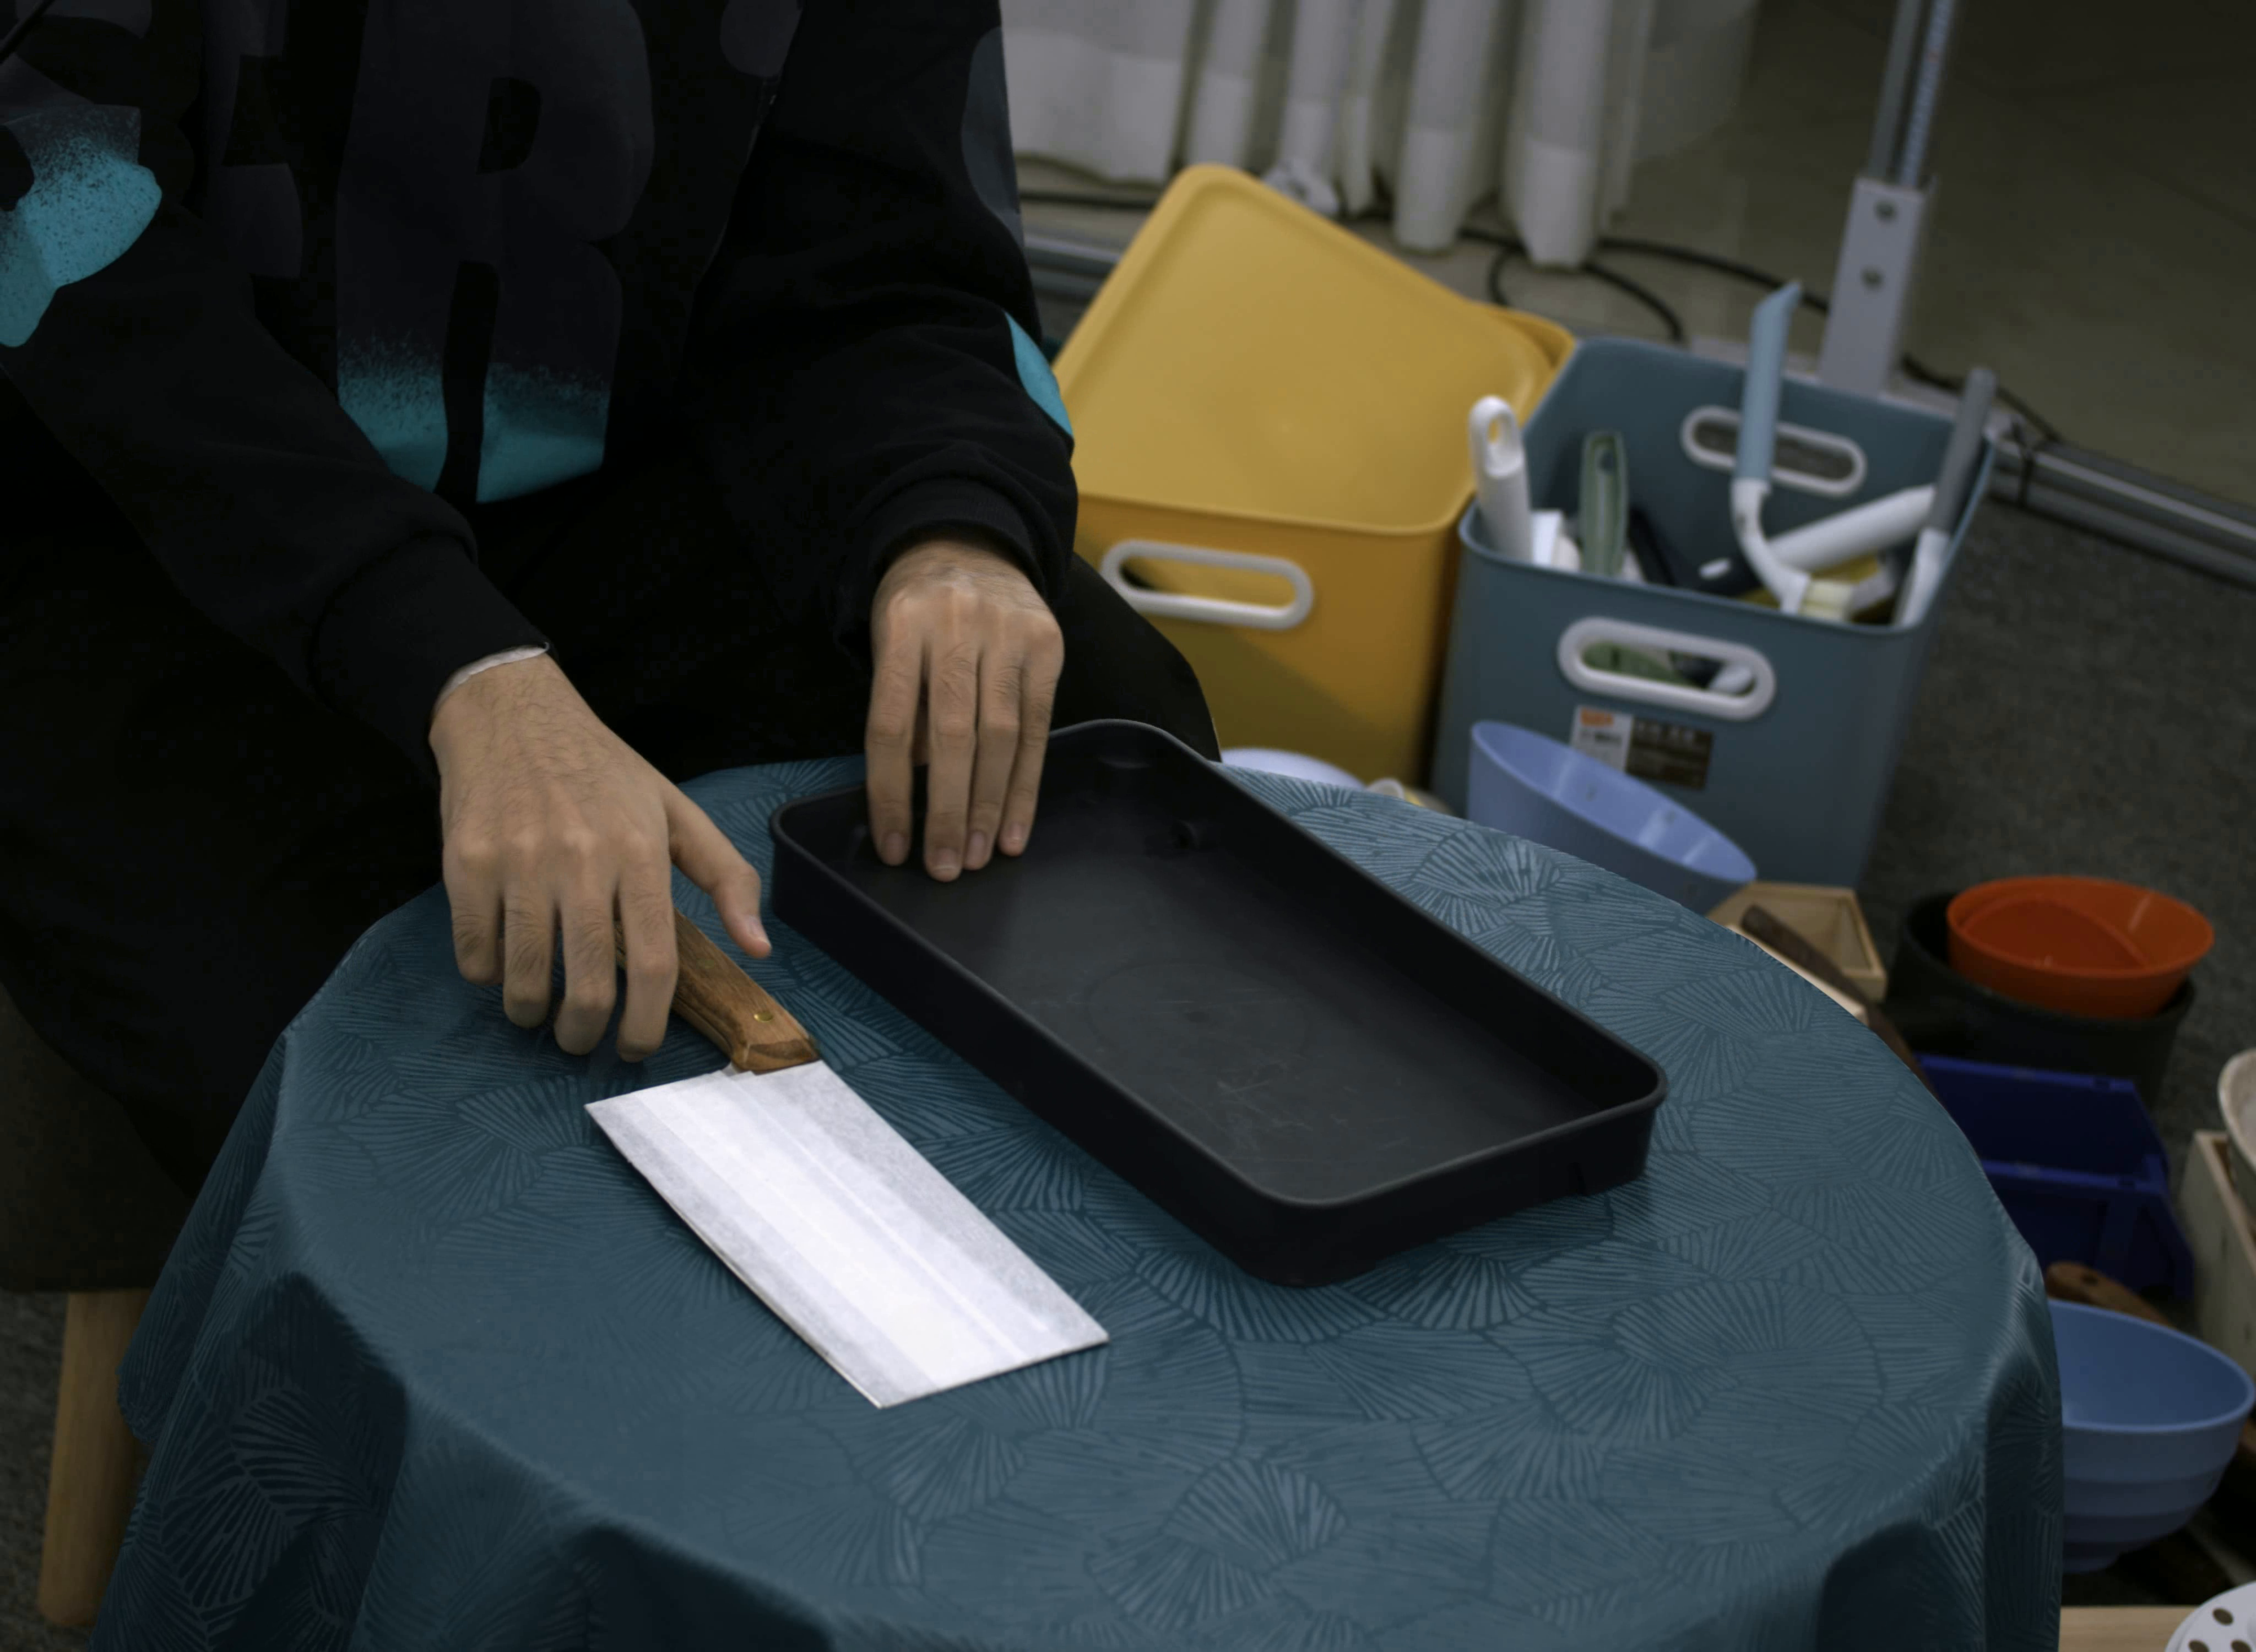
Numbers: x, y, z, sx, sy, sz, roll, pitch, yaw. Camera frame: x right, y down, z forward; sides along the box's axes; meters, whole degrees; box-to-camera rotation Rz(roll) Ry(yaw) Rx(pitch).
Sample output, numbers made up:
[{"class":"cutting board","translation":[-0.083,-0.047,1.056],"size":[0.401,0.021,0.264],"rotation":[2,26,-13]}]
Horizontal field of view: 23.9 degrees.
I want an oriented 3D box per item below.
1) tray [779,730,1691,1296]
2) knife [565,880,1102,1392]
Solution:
[{"class":"tray","translation":[0.032,0.060,1.895],"size":[0.183,0.037,0.320],"rotation":[-16,34,-37]},{"class":"knife","translation":[-0.126,0.103,1.798],"size":[0.092,0.021,0.308],"rotation":[-14,36,-32]}]
